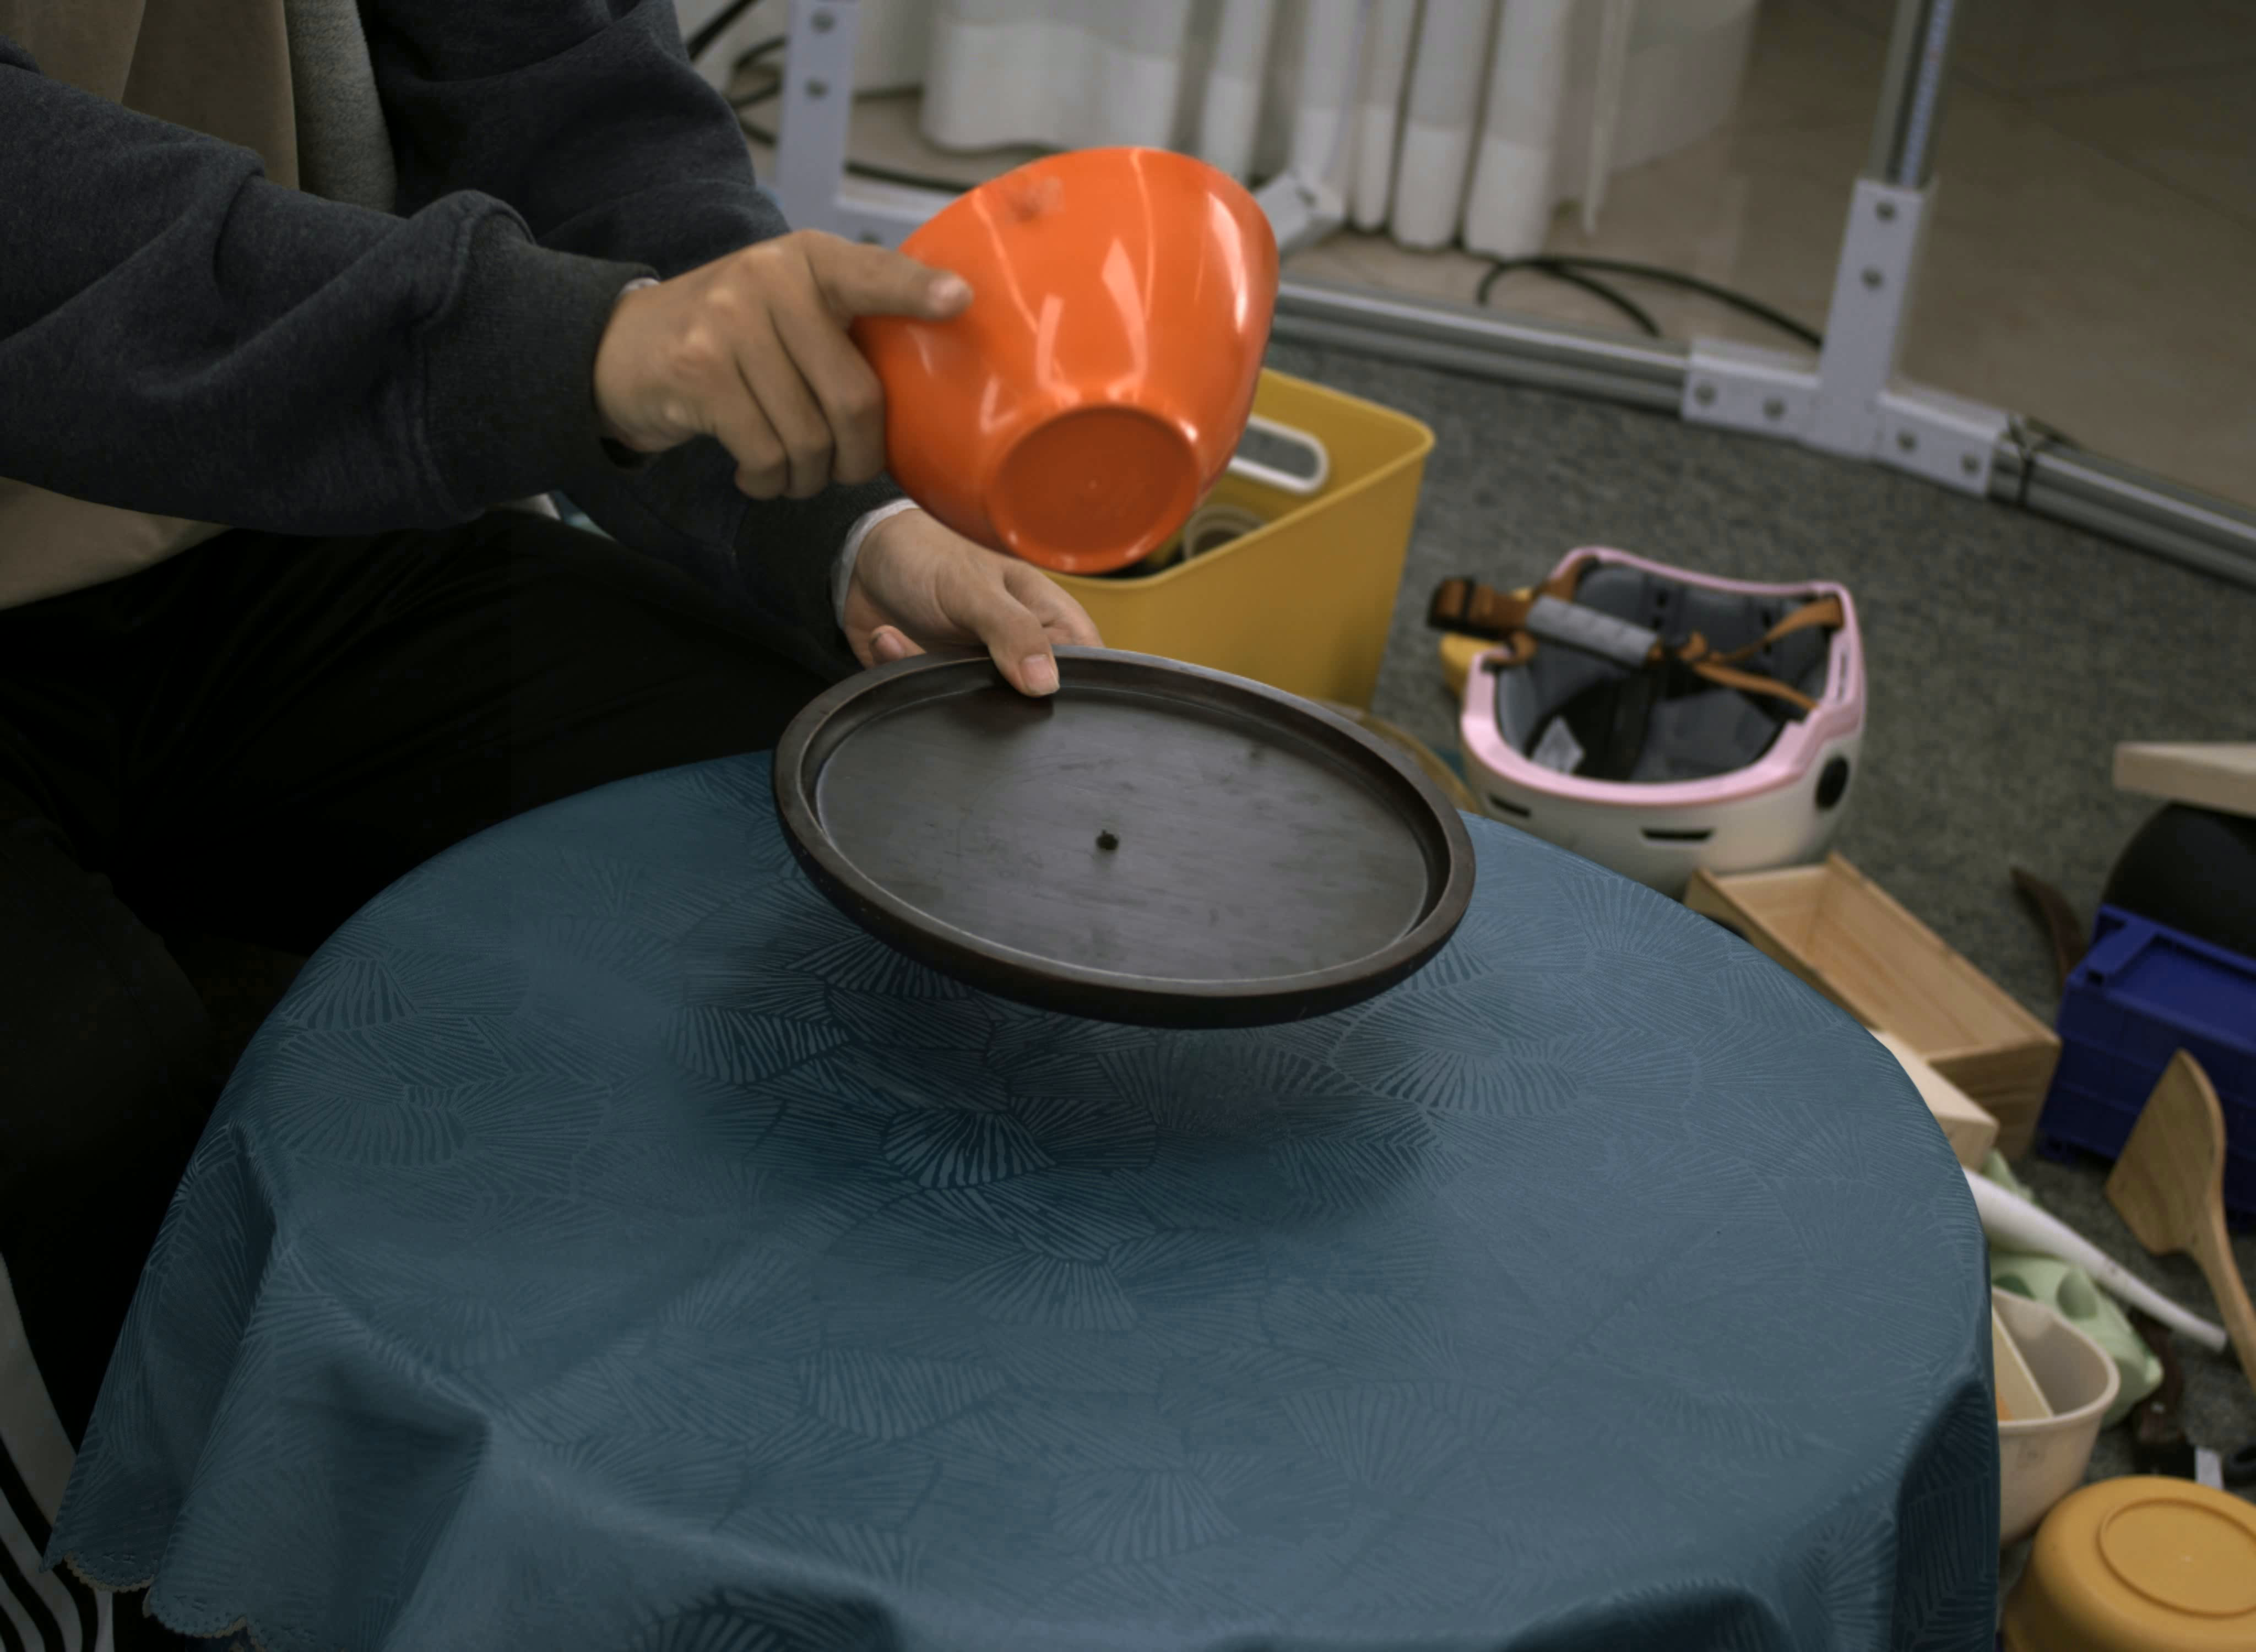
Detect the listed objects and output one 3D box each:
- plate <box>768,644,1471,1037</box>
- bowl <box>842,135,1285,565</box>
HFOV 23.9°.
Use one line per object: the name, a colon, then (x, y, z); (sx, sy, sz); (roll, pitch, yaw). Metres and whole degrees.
plate: (-0.003, 0.003, 1.886); (0.254, 0.029, 0.256); (6, 29, -4)
bowl: (-0.012, -0.135, 1.670); (0.147, 0.147, 0.105); (0, 40, -14)
